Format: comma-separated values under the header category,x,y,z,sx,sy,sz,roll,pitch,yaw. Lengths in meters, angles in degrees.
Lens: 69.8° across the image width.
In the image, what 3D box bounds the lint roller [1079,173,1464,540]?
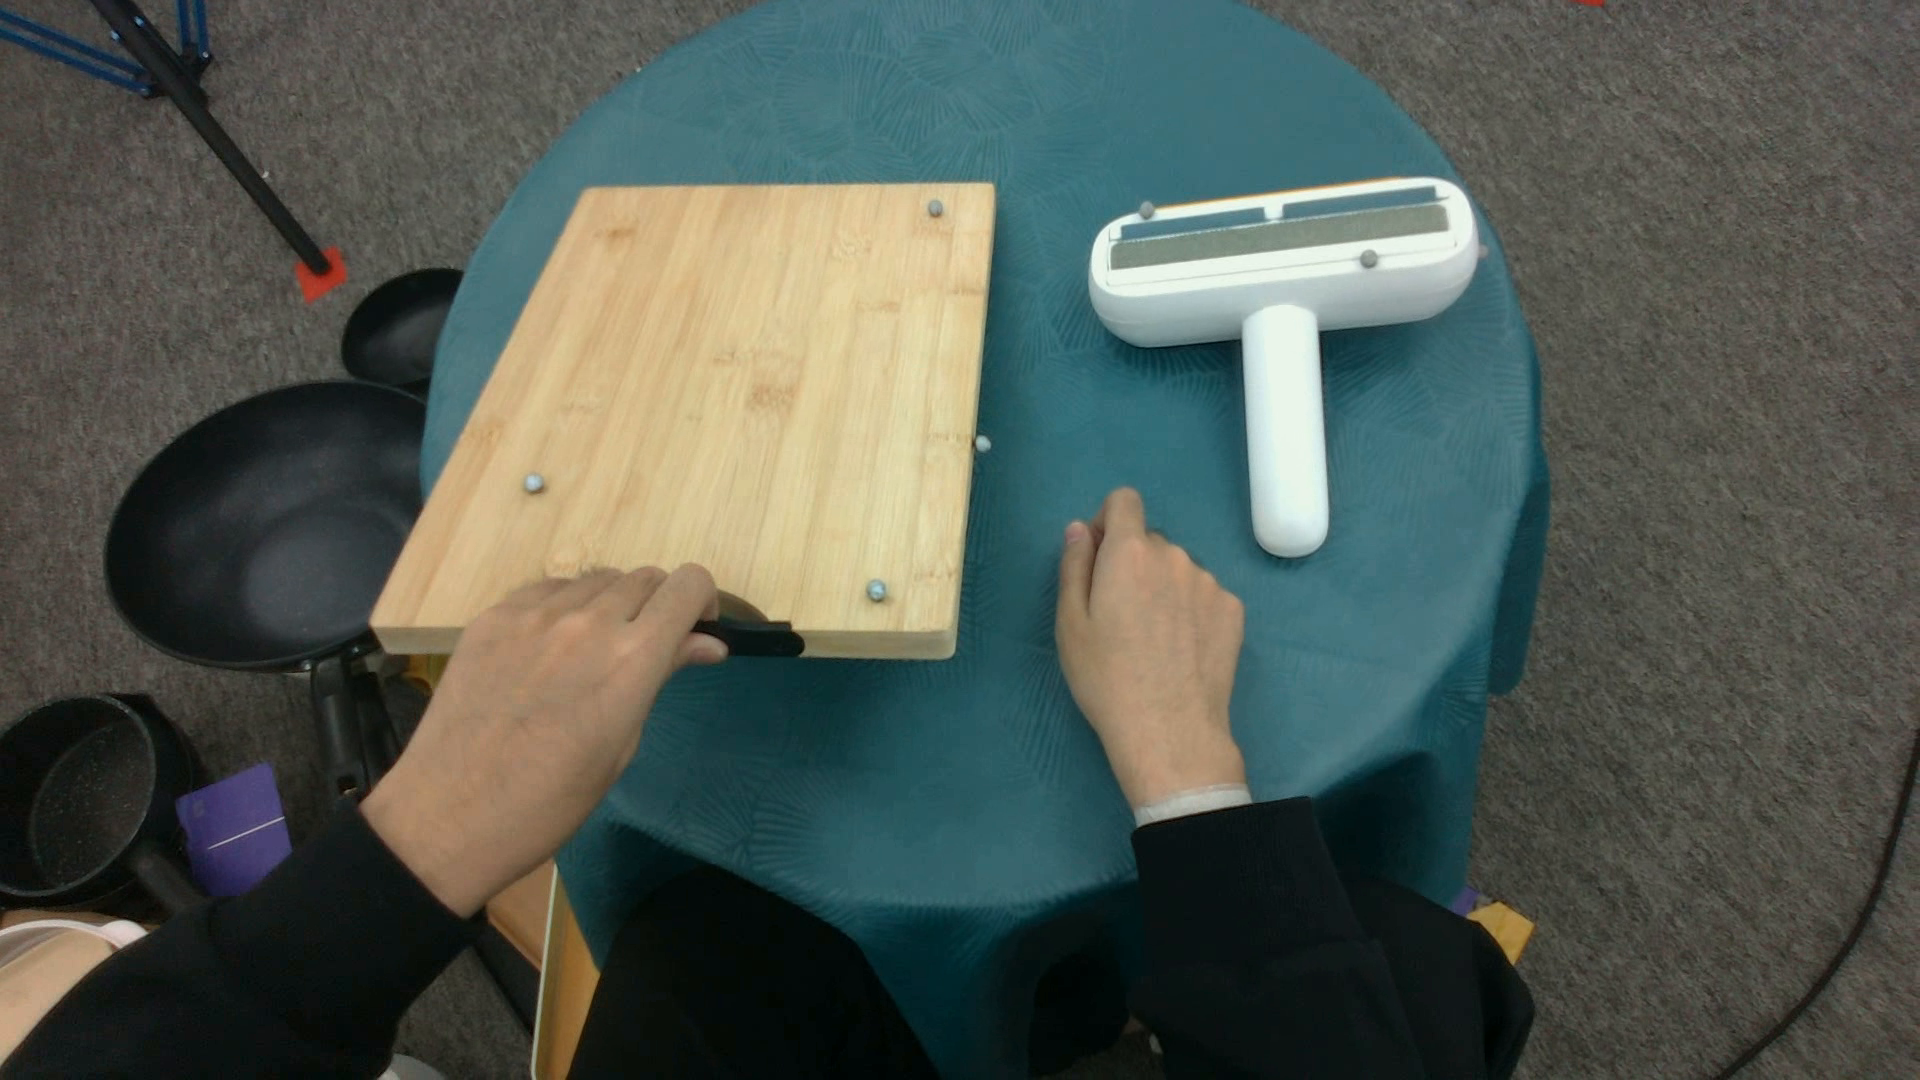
category,x,y,z,sx,sy,sz,roll,pitch,yaw
lint roller,0.154,-0.096,0.698,0.192,0.074,0.193,2,66,10

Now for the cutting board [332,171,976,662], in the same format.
category,x,y,z,sx,sy,sz,roll,pitch,yaw
cutting board,-0.123,-0.082,0.674,0.250,0.023,0.350,0,46,4
